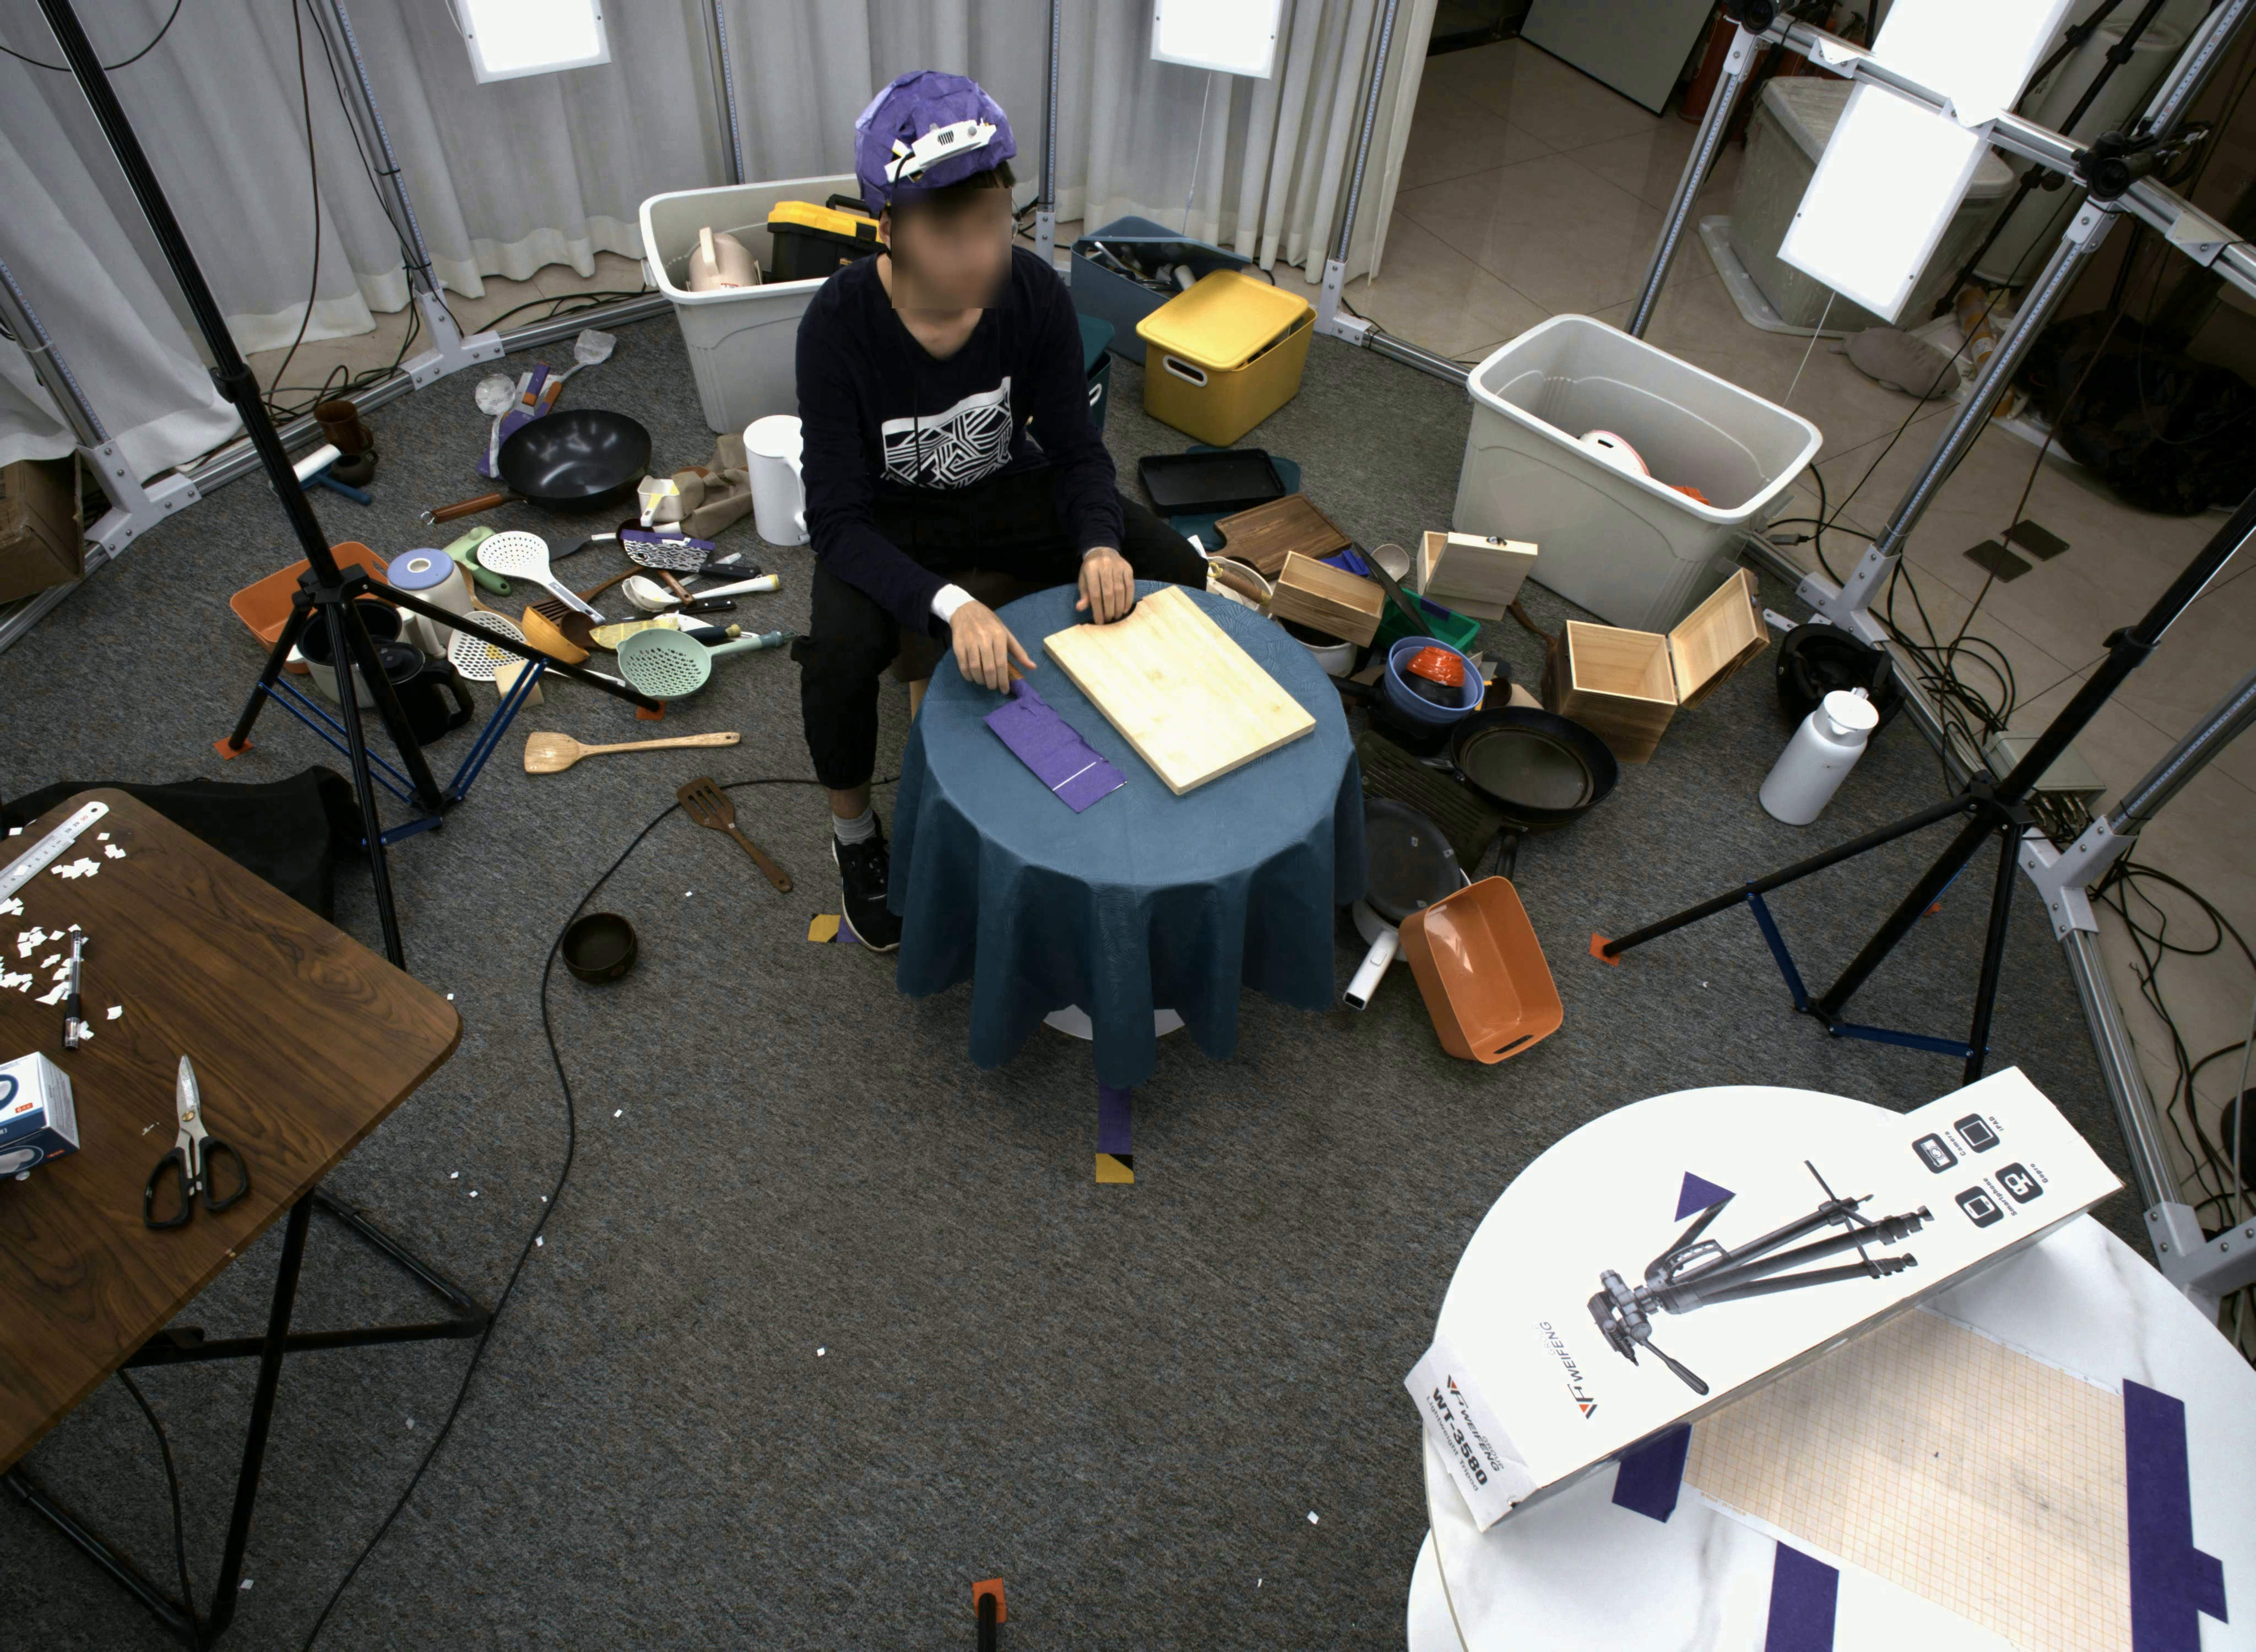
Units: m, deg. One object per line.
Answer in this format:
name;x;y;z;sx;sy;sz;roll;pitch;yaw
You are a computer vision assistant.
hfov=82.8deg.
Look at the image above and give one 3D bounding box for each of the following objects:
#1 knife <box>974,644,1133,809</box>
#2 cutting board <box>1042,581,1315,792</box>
knife;-0.131;-0.140;1.762;0.104;0.031;0.320;-31;58;-27
cutting board;0.067;-0.209;1.842;0.252;0.023;0.355;-26;55;-24
